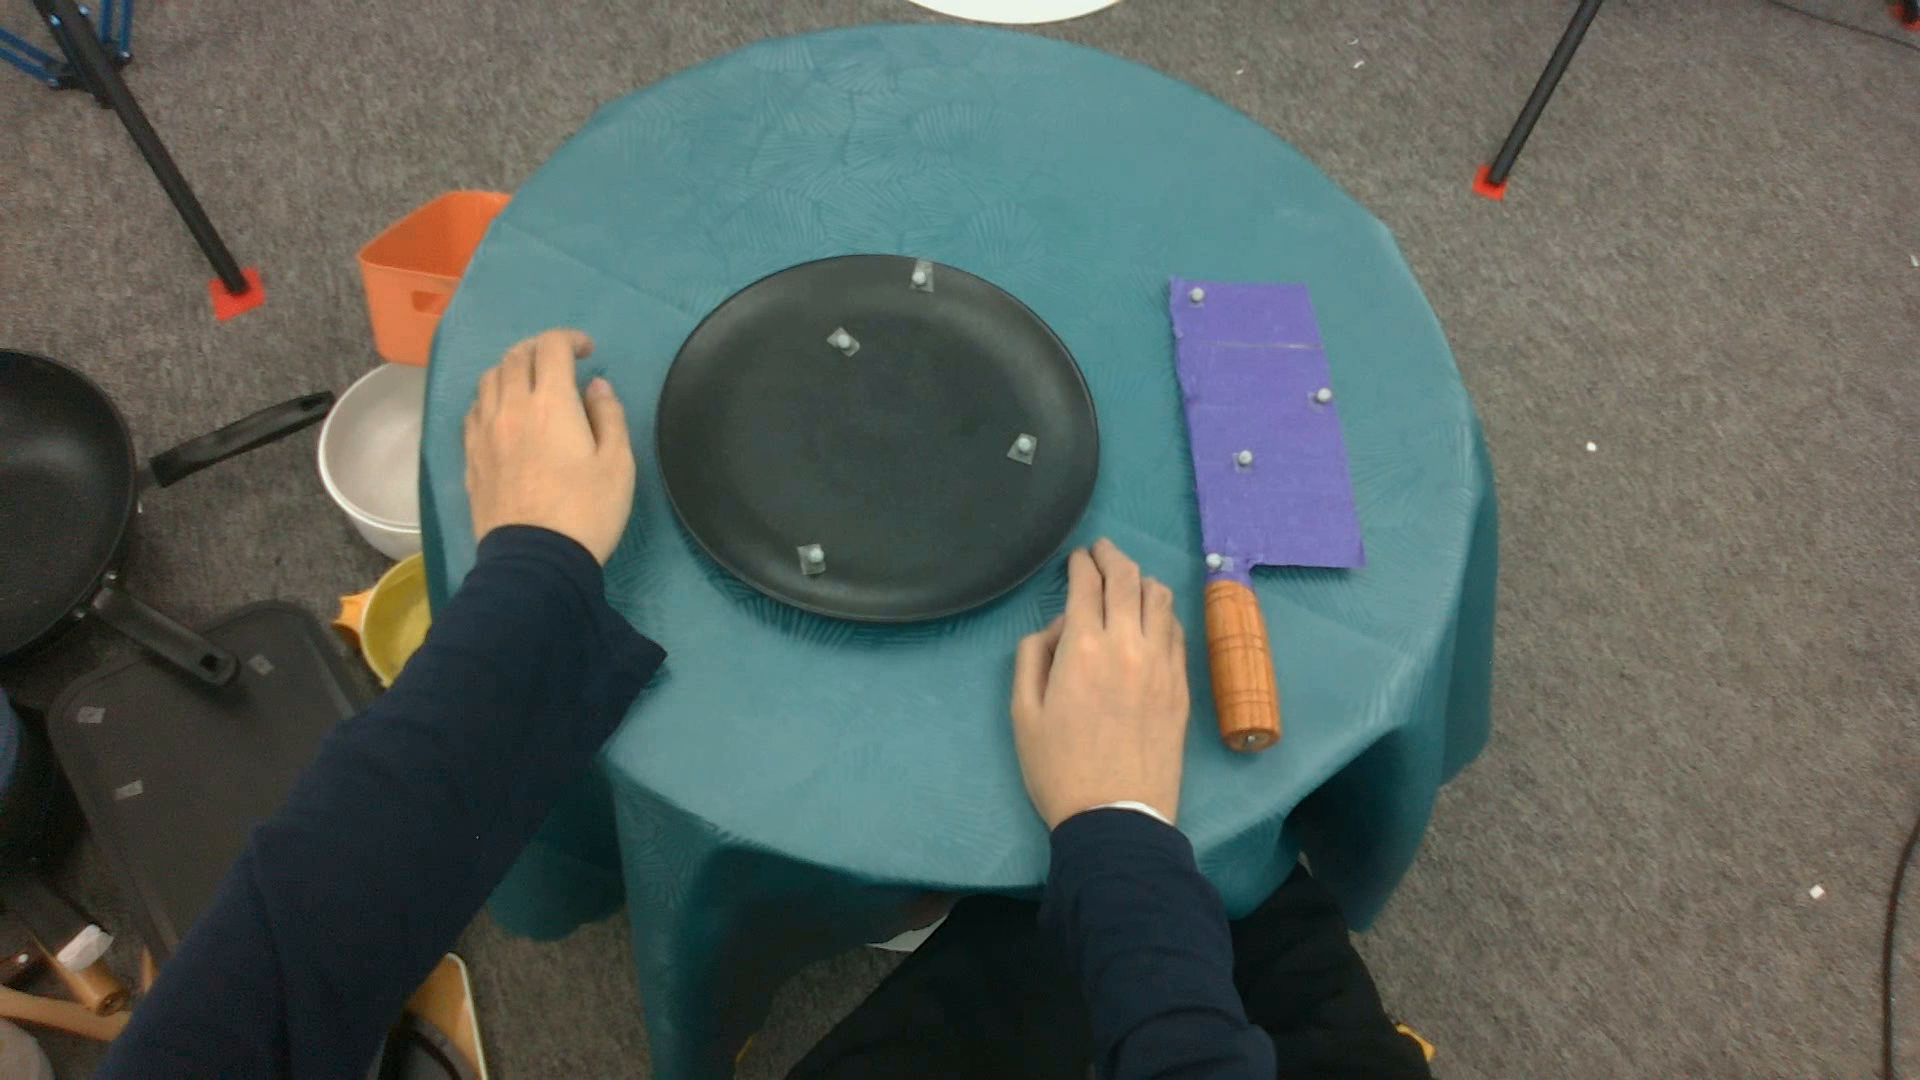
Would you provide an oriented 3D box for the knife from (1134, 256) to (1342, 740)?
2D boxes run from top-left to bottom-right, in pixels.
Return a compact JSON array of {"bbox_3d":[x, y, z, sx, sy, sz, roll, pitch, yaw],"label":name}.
[{"bbox_3d":[0.163,-0.040,0.768,0.104,0.032,0.316,2,60,-6],"label":"knife"}]

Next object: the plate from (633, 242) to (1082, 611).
[{"bbox_3d":[-0.055,-0.065,0.758,0.244,0.023,0.245,3,60,-5],"label":"plate"}]
